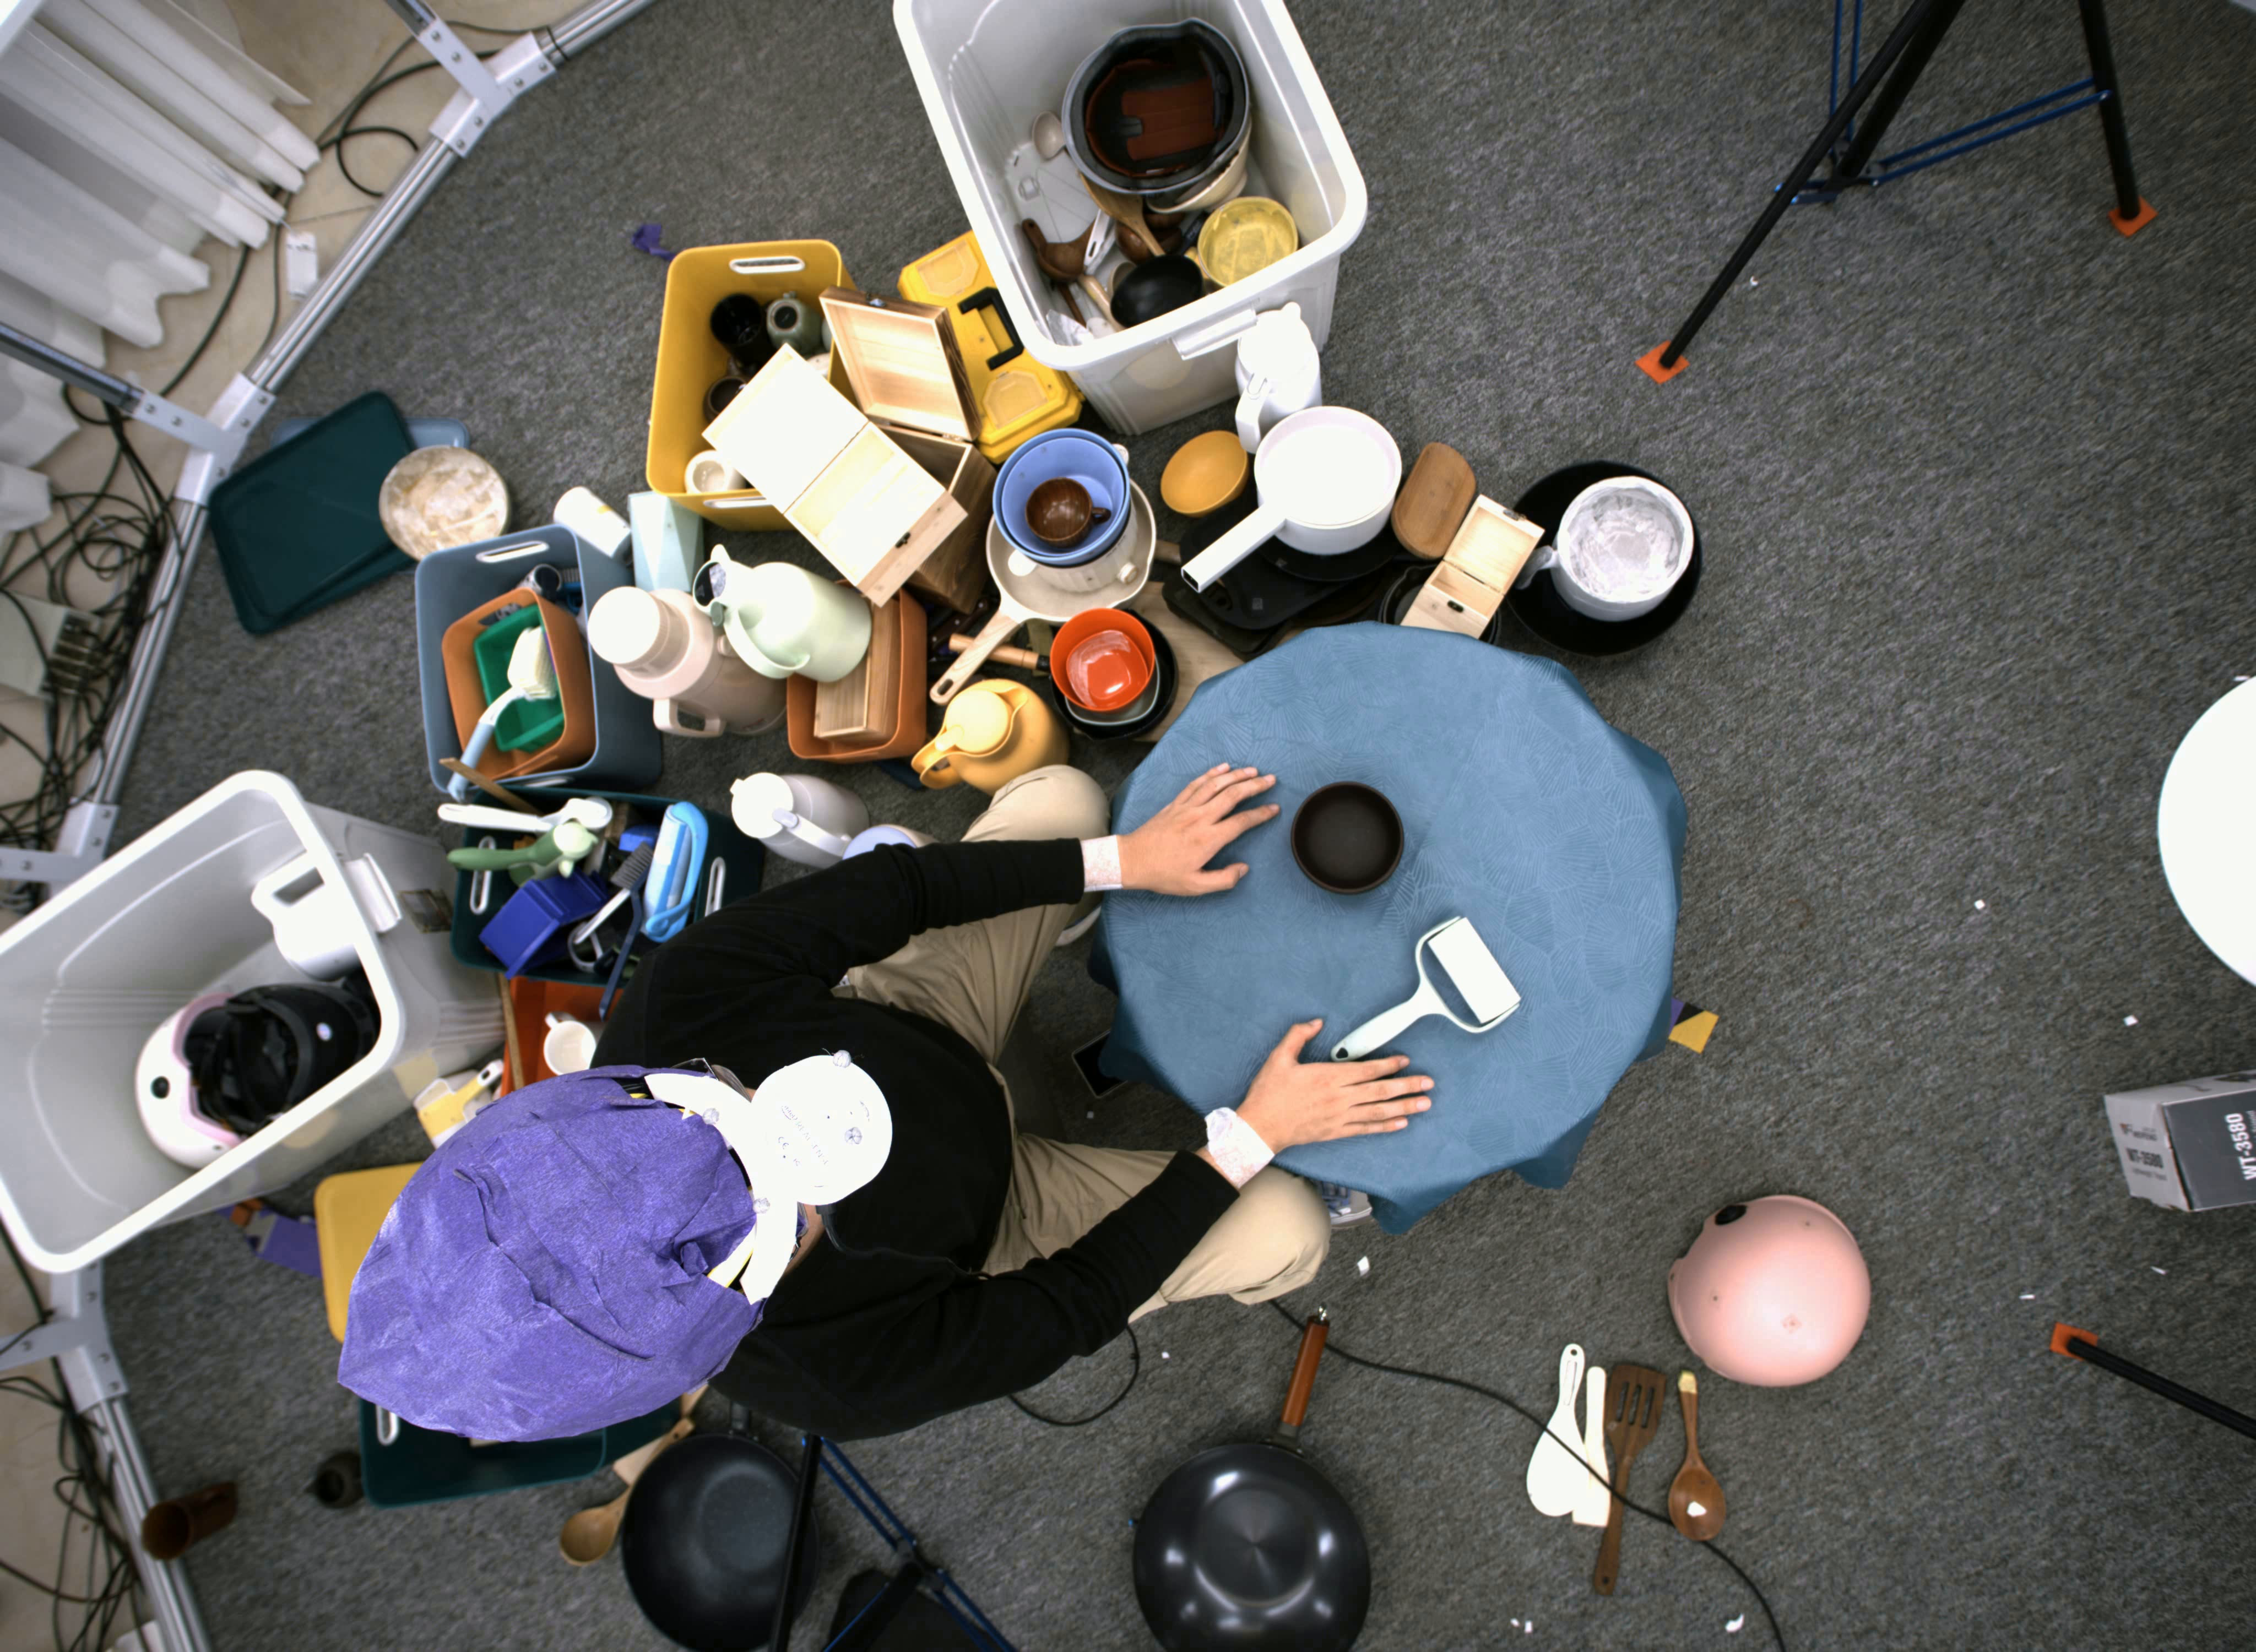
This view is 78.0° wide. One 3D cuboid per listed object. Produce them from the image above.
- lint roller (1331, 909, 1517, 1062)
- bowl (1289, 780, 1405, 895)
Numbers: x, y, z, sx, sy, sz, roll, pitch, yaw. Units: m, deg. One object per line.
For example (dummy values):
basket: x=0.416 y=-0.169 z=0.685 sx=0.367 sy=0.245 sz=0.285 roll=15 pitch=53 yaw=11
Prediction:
lint roller: x=0.291 y=0.180 z=1.428 sx=0.199 sy=0.048 sz=0.116 roll=-35 pitch=82 yaw=8
bowl: x=0.227 y=0.012 z=1.435 sx=0.118 sy=0.070 sz=0.117 roll=-1 pitch=87 yaw=11
